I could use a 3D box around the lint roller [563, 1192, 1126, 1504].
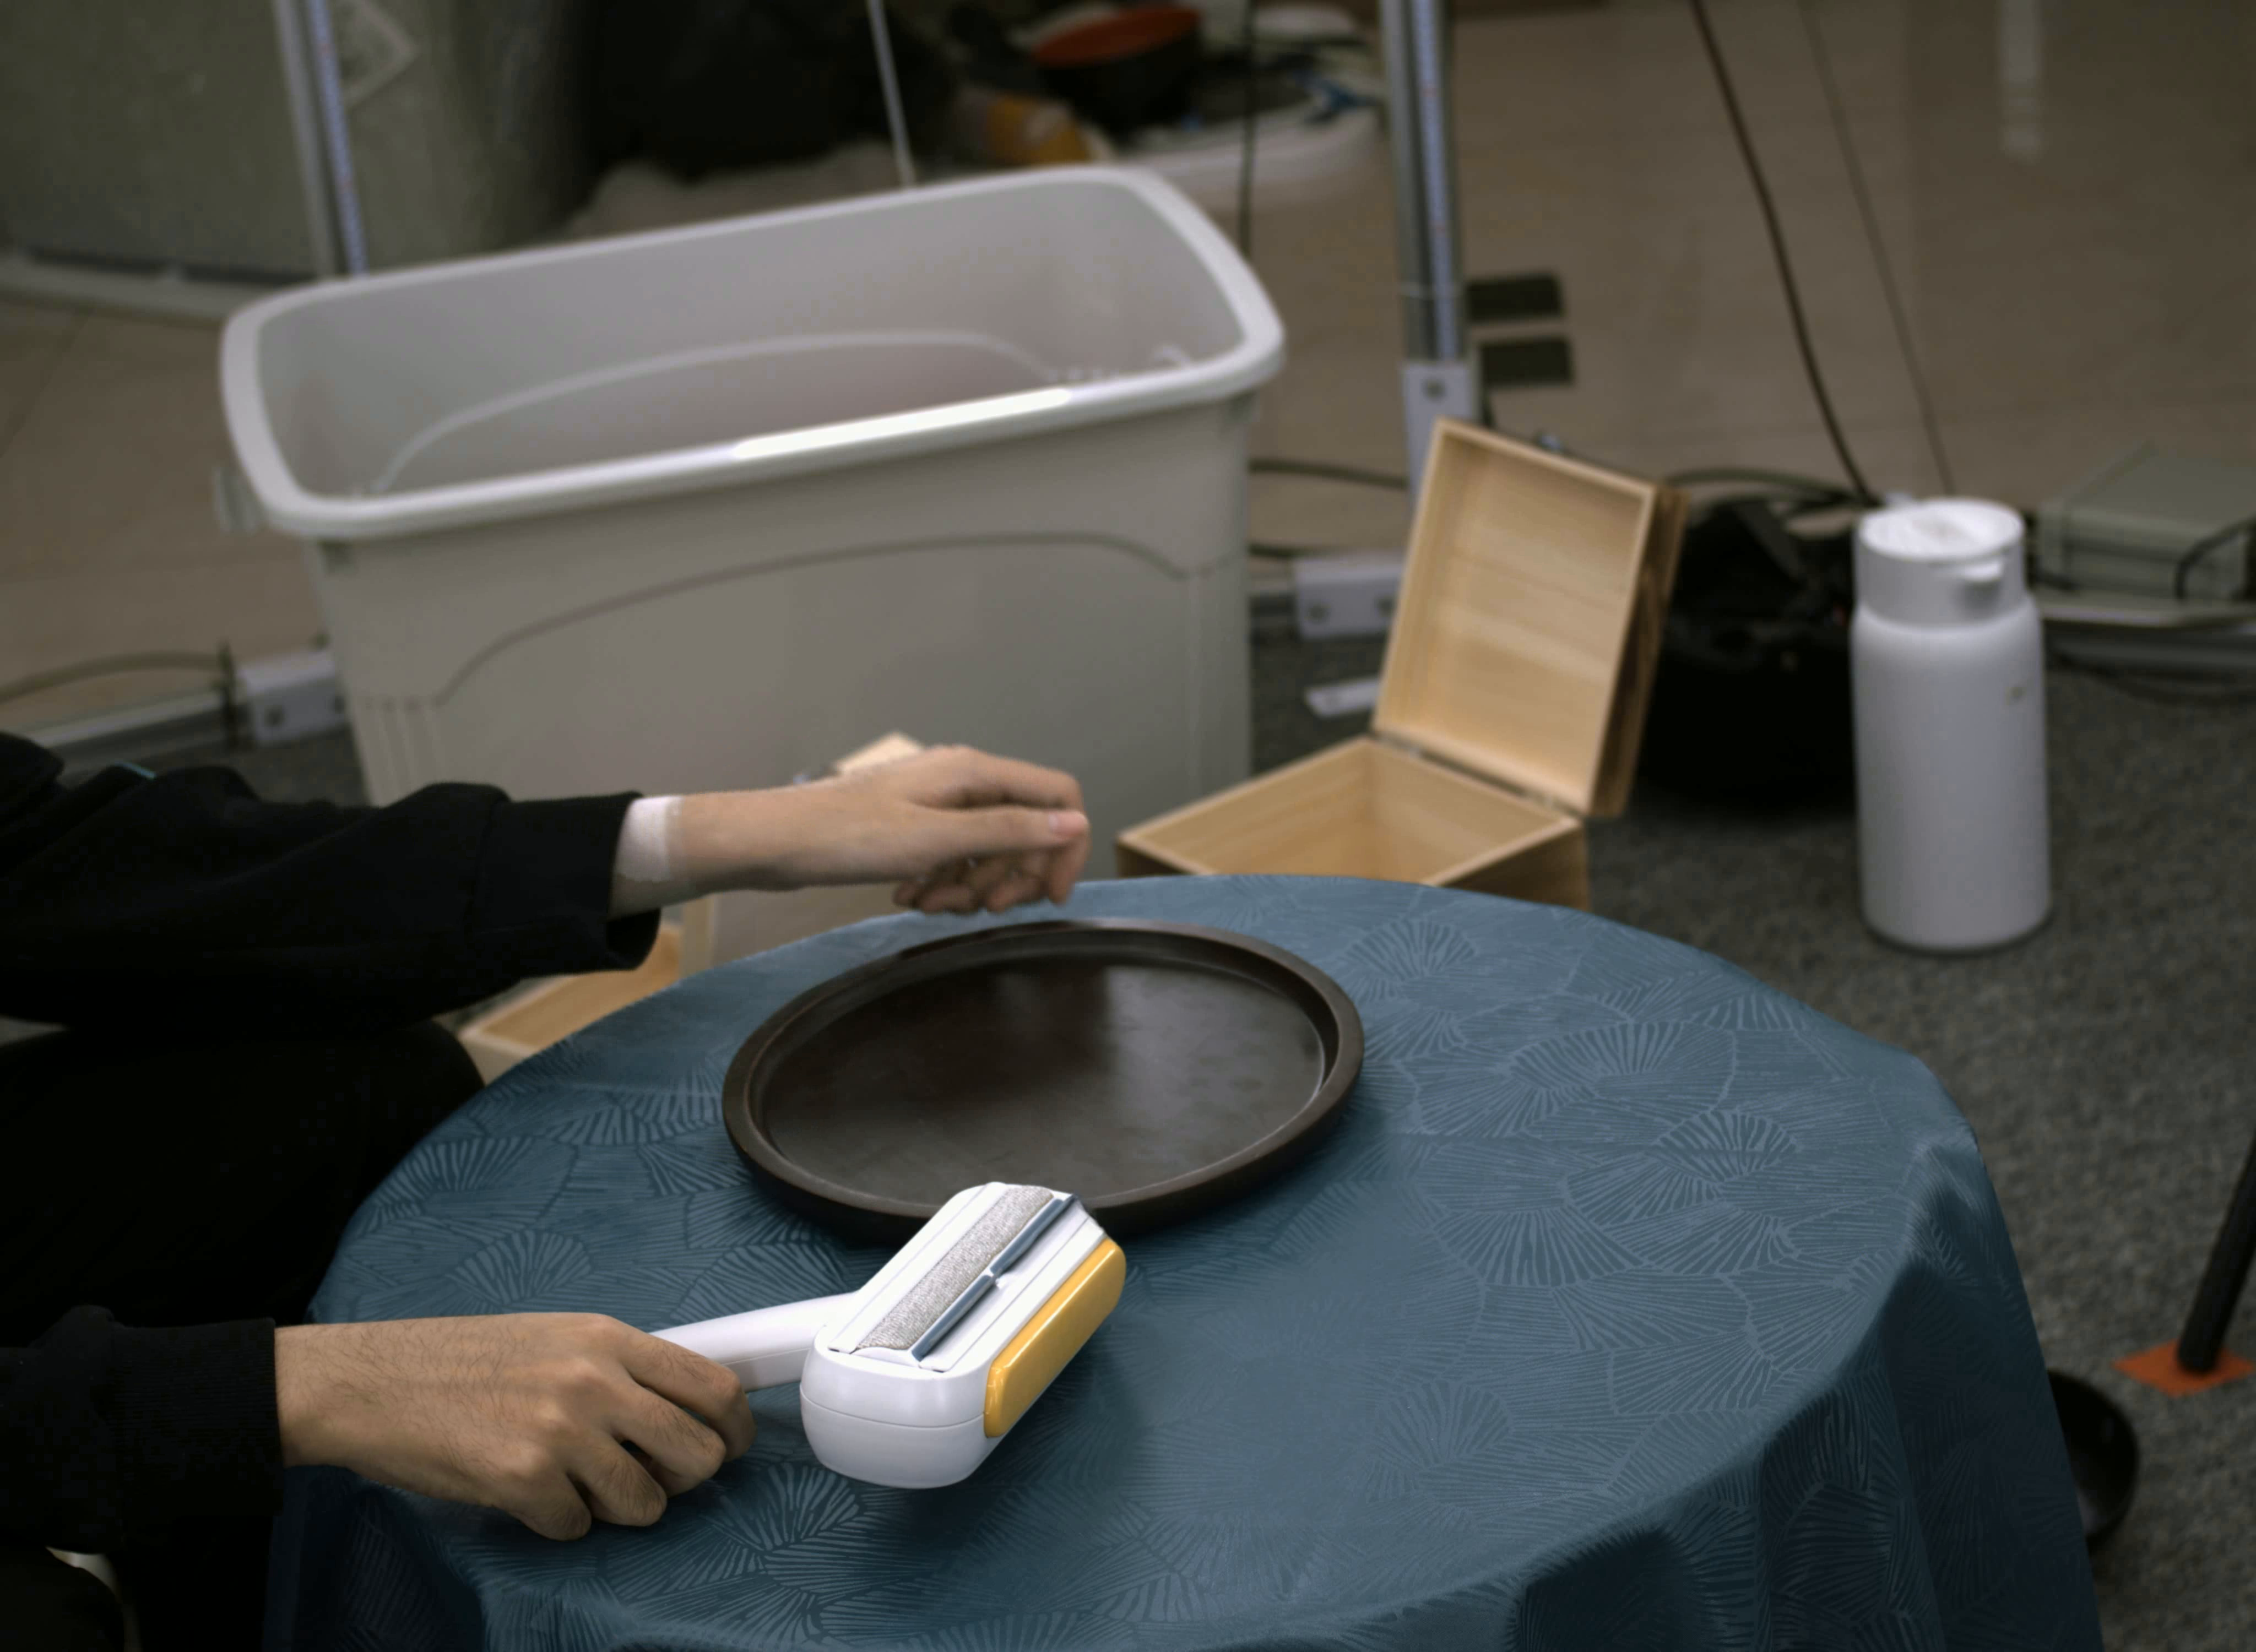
[{"bbox_3d":[-0.113,0.183,1.997,0.192,0.075,0.190,2,21,22],"label":"lint roller"}]

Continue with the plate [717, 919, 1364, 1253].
[{"bbox_3d":[-0.033,0.100,2.207,0.254,0.029,0.251,-6,25,3],"label":"plate"}]
